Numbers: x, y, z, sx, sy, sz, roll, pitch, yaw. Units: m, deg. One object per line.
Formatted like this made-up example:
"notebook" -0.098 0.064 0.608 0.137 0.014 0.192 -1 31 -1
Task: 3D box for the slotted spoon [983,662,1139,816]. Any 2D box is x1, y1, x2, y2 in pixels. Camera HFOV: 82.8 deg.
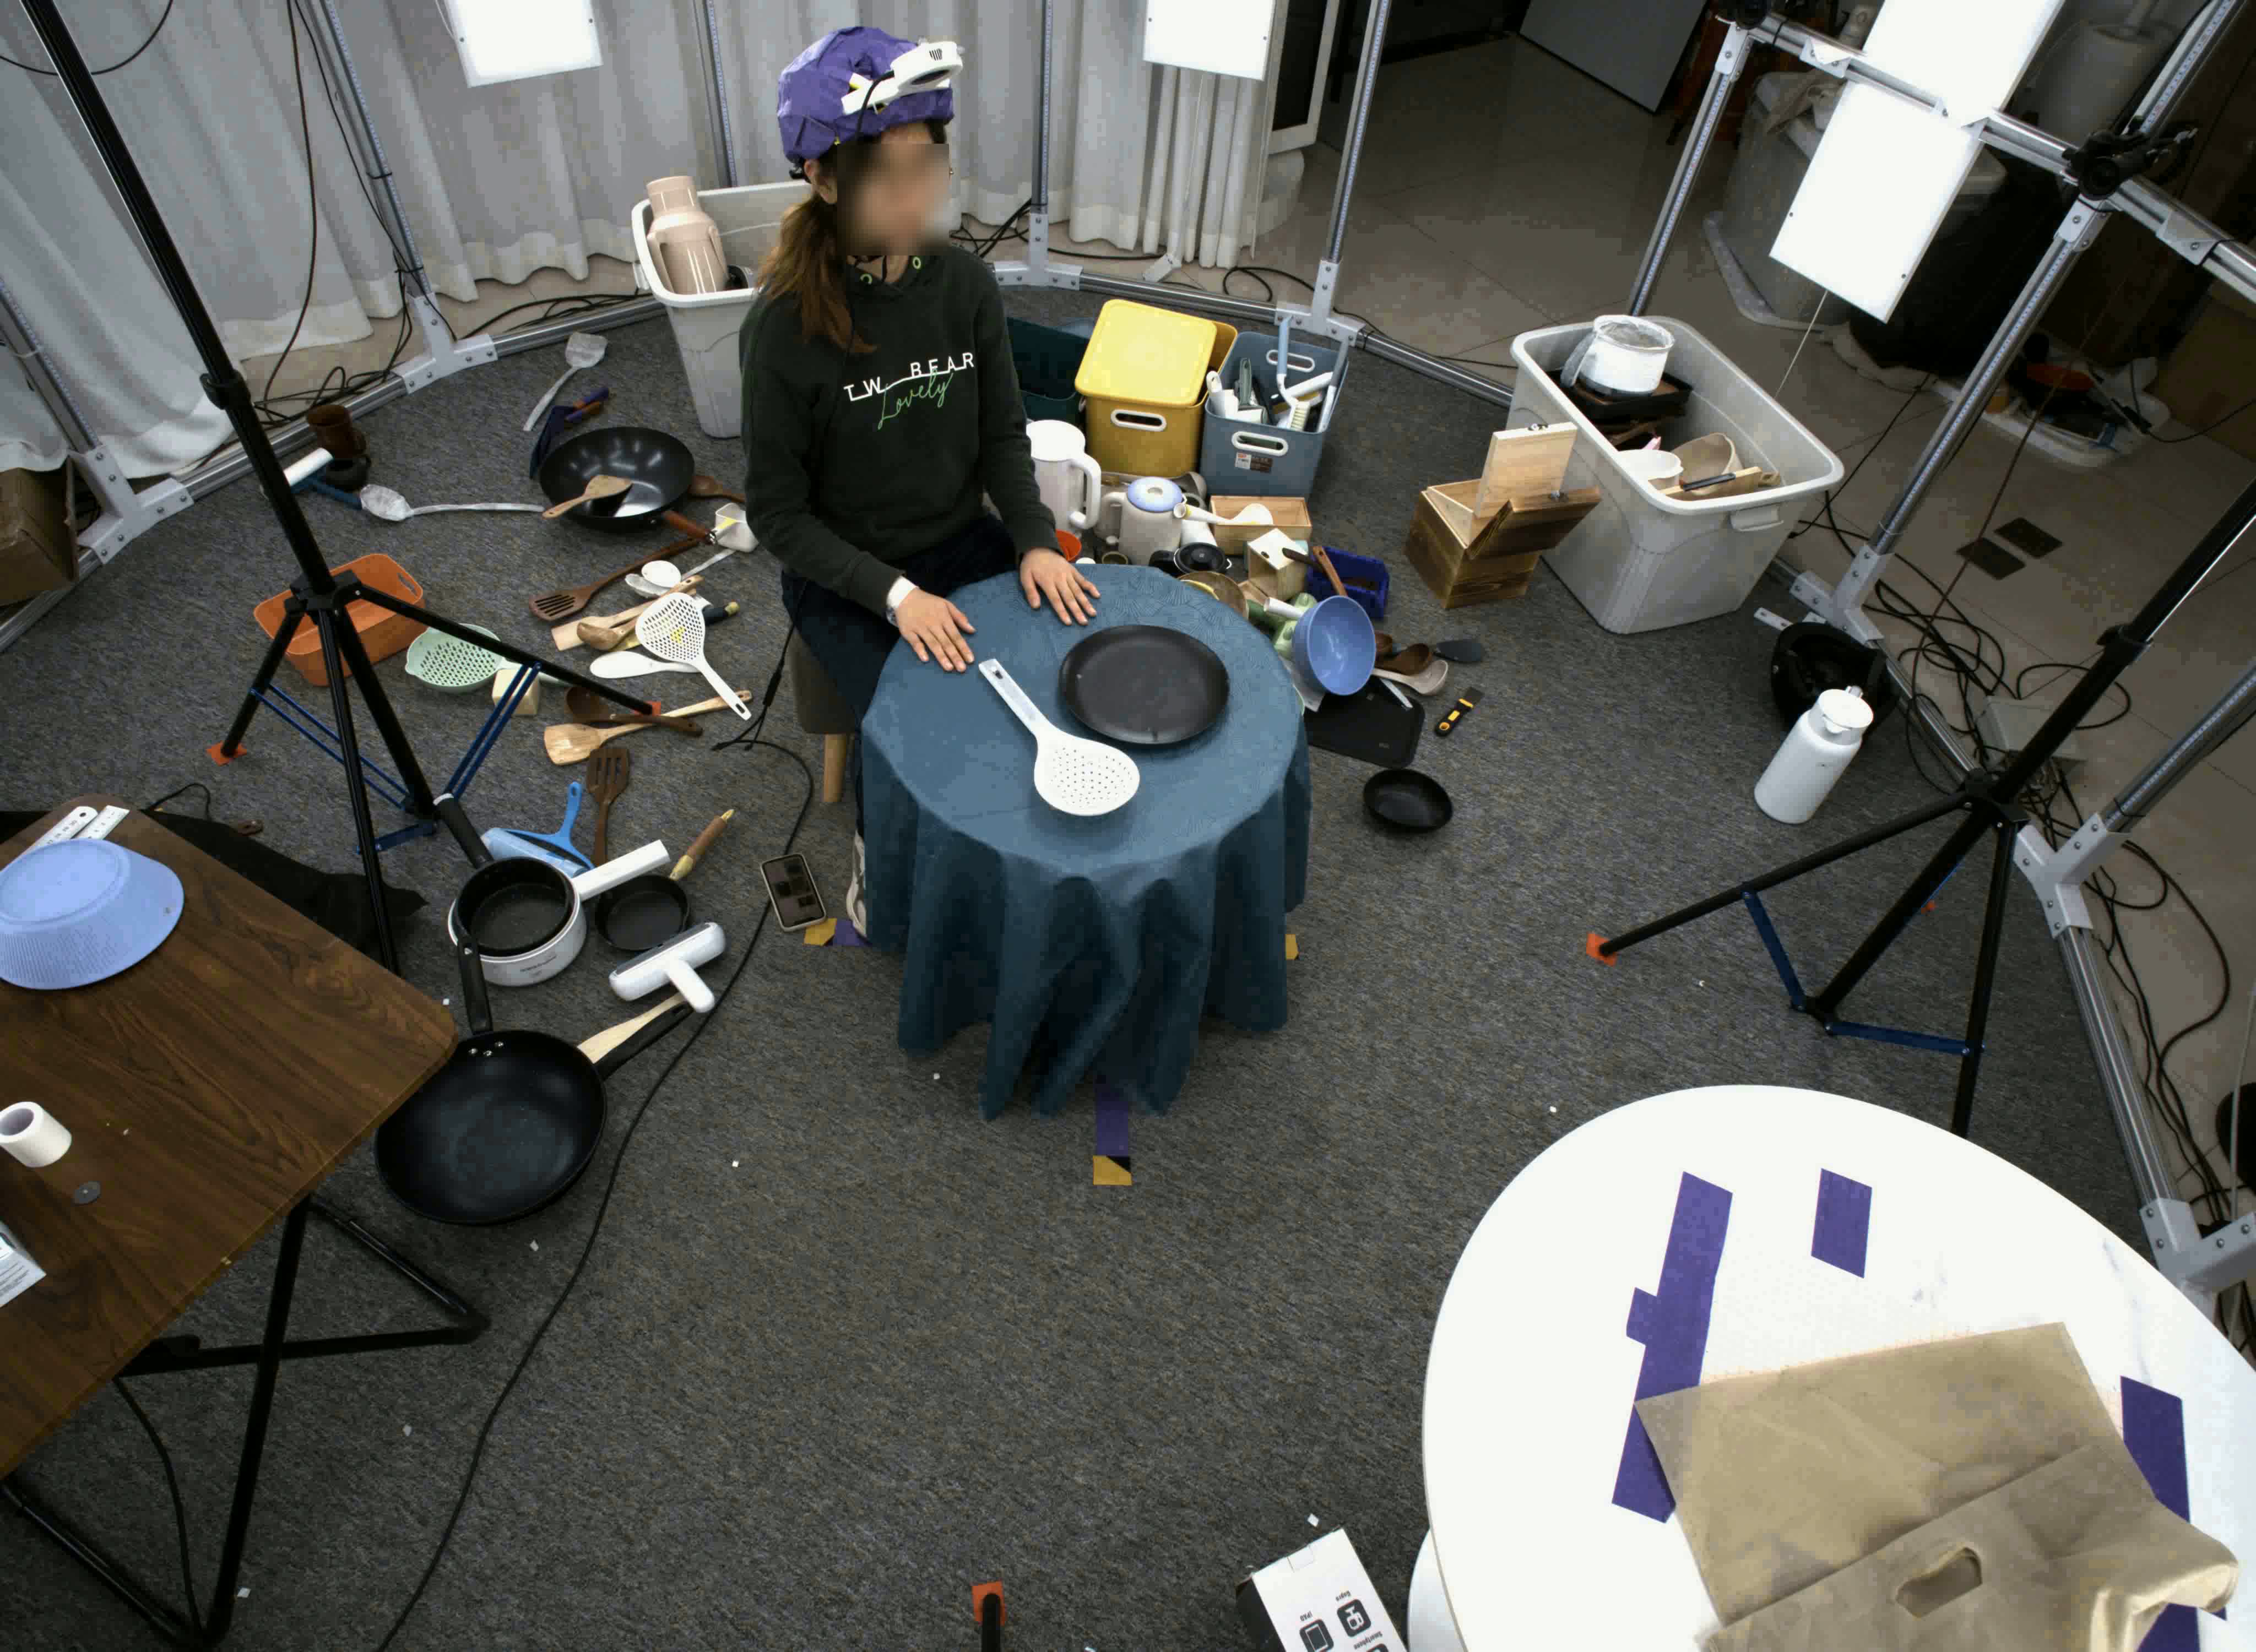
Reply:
"slotted spoon" -0.110 -0.124 1.755 0.136 0.044 0.357 -21 52 -23

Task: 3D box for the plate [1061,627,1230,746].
"plate" 0.025 -0.198 1.844 0.244 0.023 0.250 2 49 -2
